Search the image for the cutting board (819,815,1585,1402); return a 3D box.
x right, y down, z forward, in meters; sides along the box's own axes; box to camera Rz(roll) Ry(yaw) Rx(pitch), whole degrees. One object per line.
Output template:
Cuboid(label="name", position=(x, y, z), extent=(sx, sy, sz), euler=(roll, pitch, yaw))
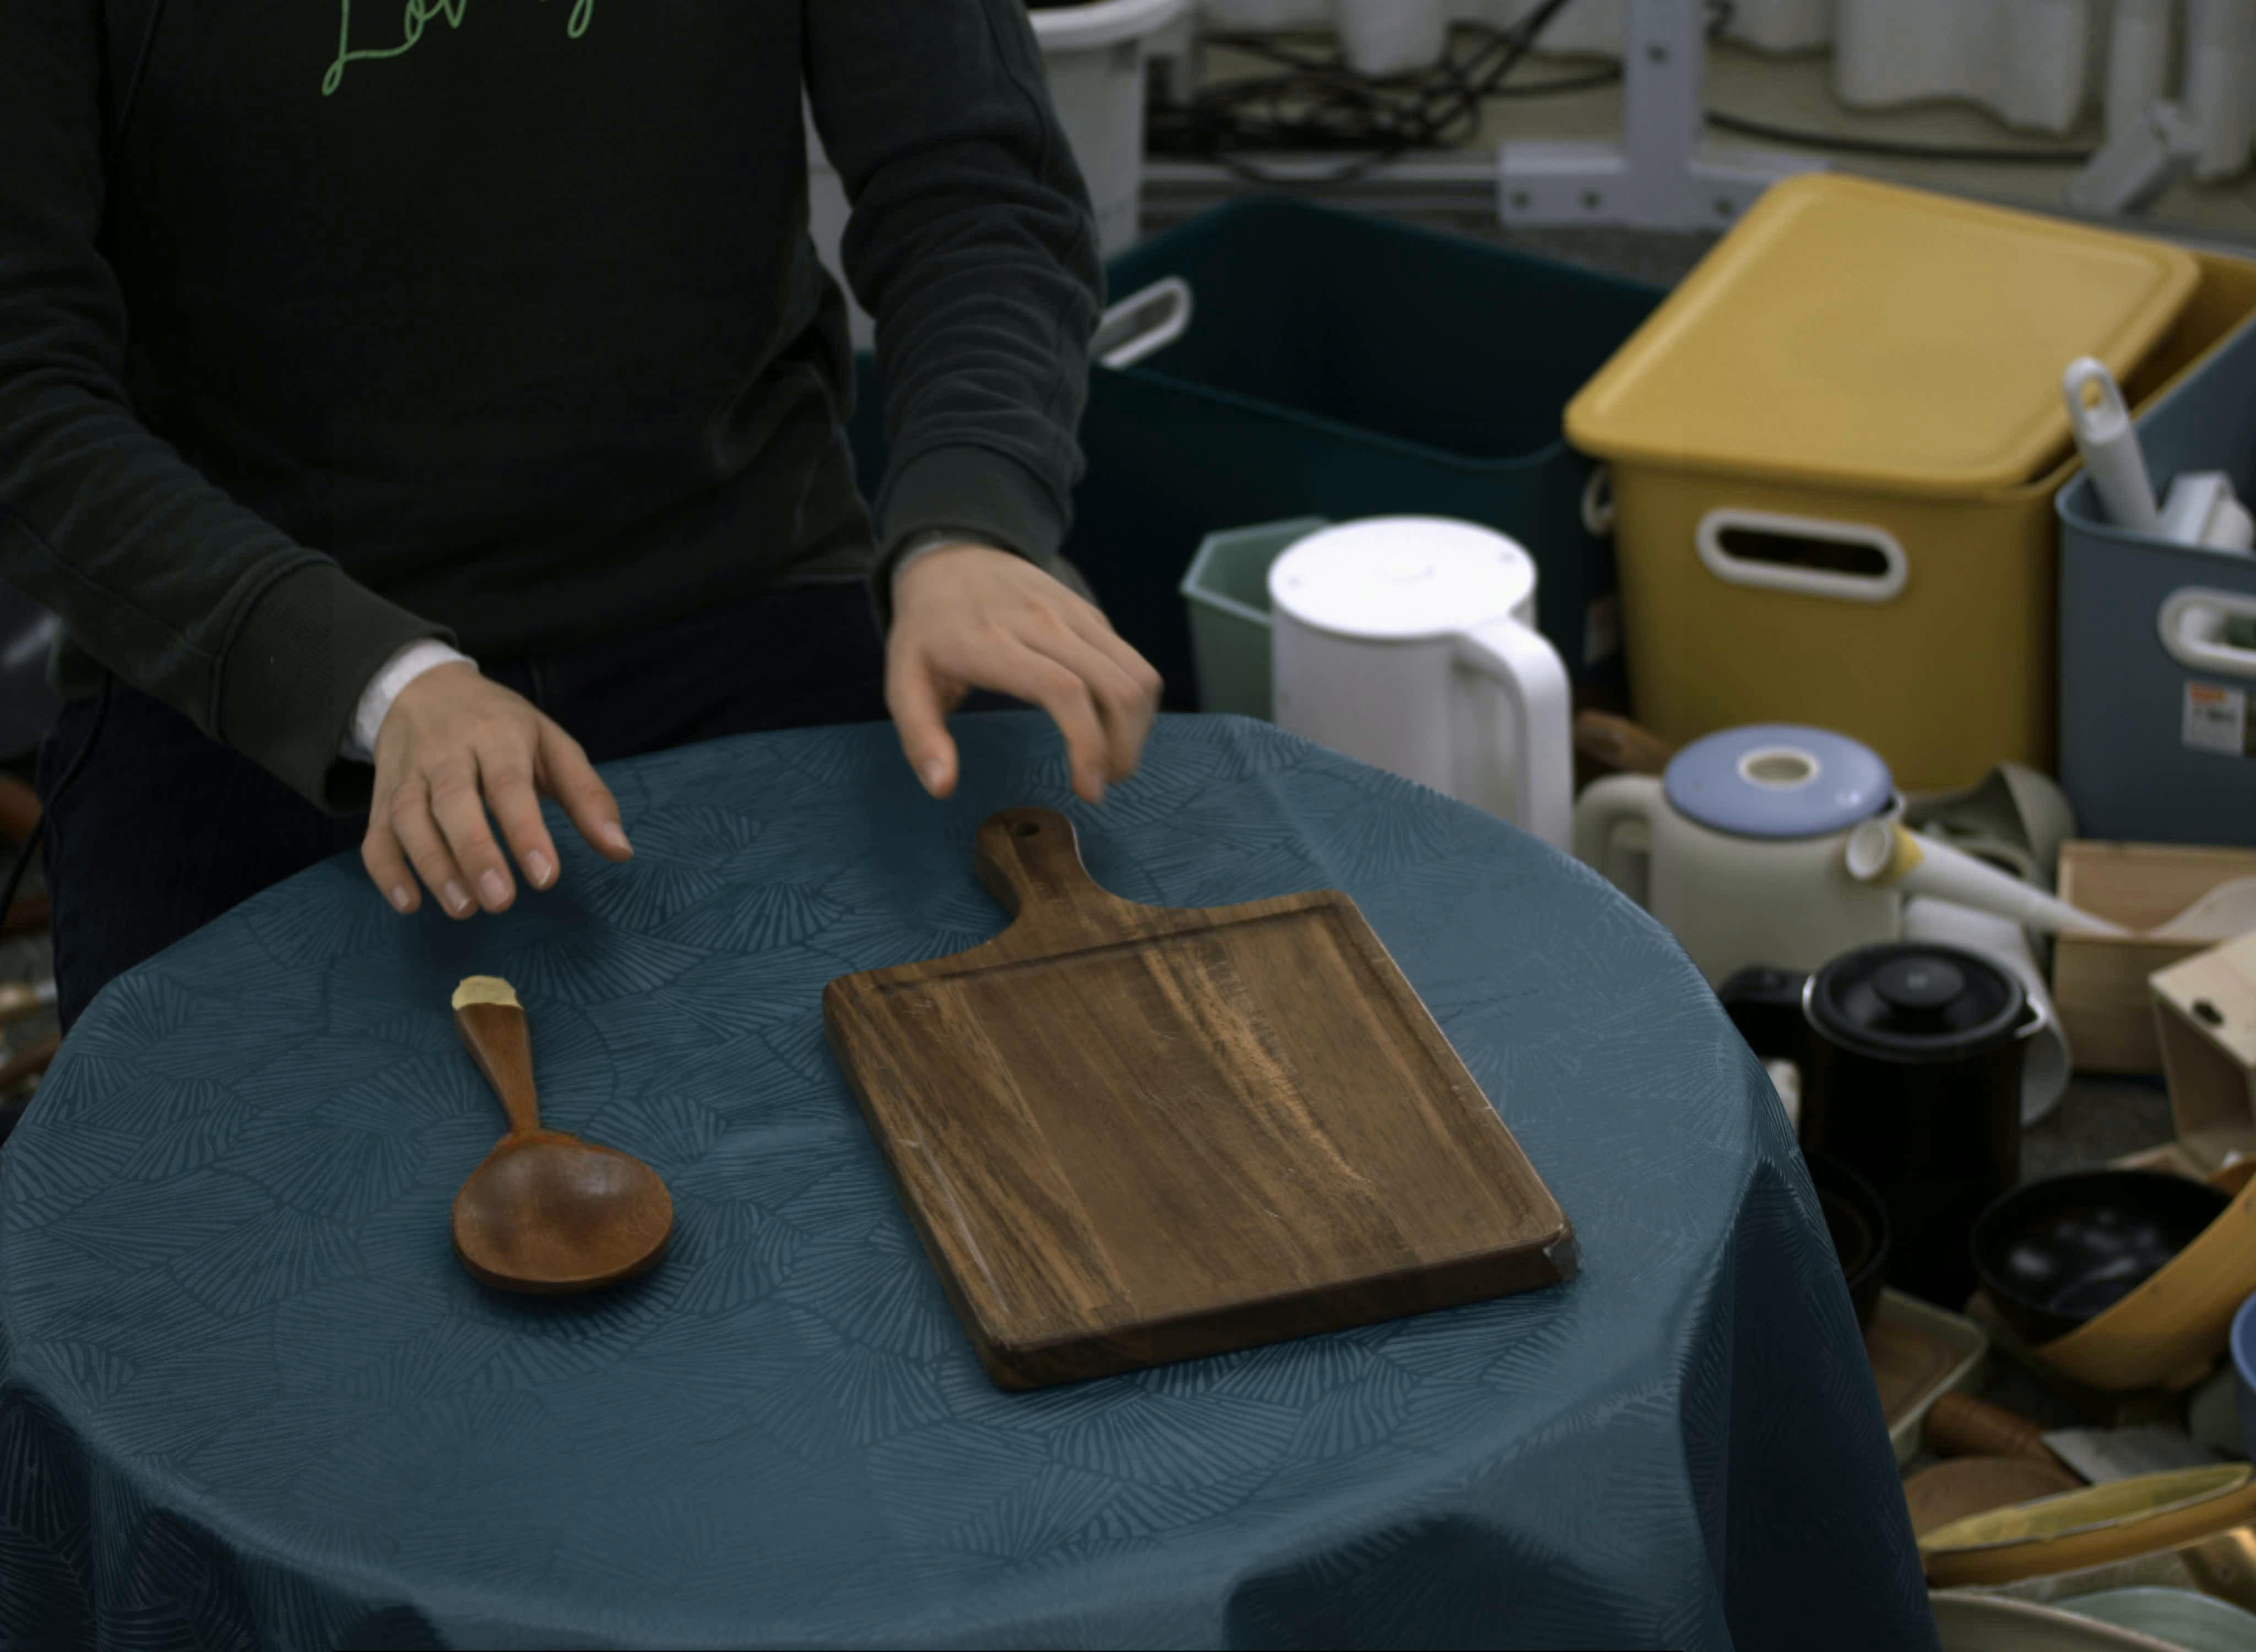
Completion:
Cuboid(label="cutting board", position=(0.006, 0.080, 1.922), extent=(0.201, 0.023, 0.355), euler=(-11, 28, -12))

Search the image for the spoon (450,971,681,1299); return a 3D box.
Cuboid(label="spoon", position=(-0.200, 0.105, 1.895), extent=(0.075, 0.017, 0.218), euler=(-11, 29, -11))
